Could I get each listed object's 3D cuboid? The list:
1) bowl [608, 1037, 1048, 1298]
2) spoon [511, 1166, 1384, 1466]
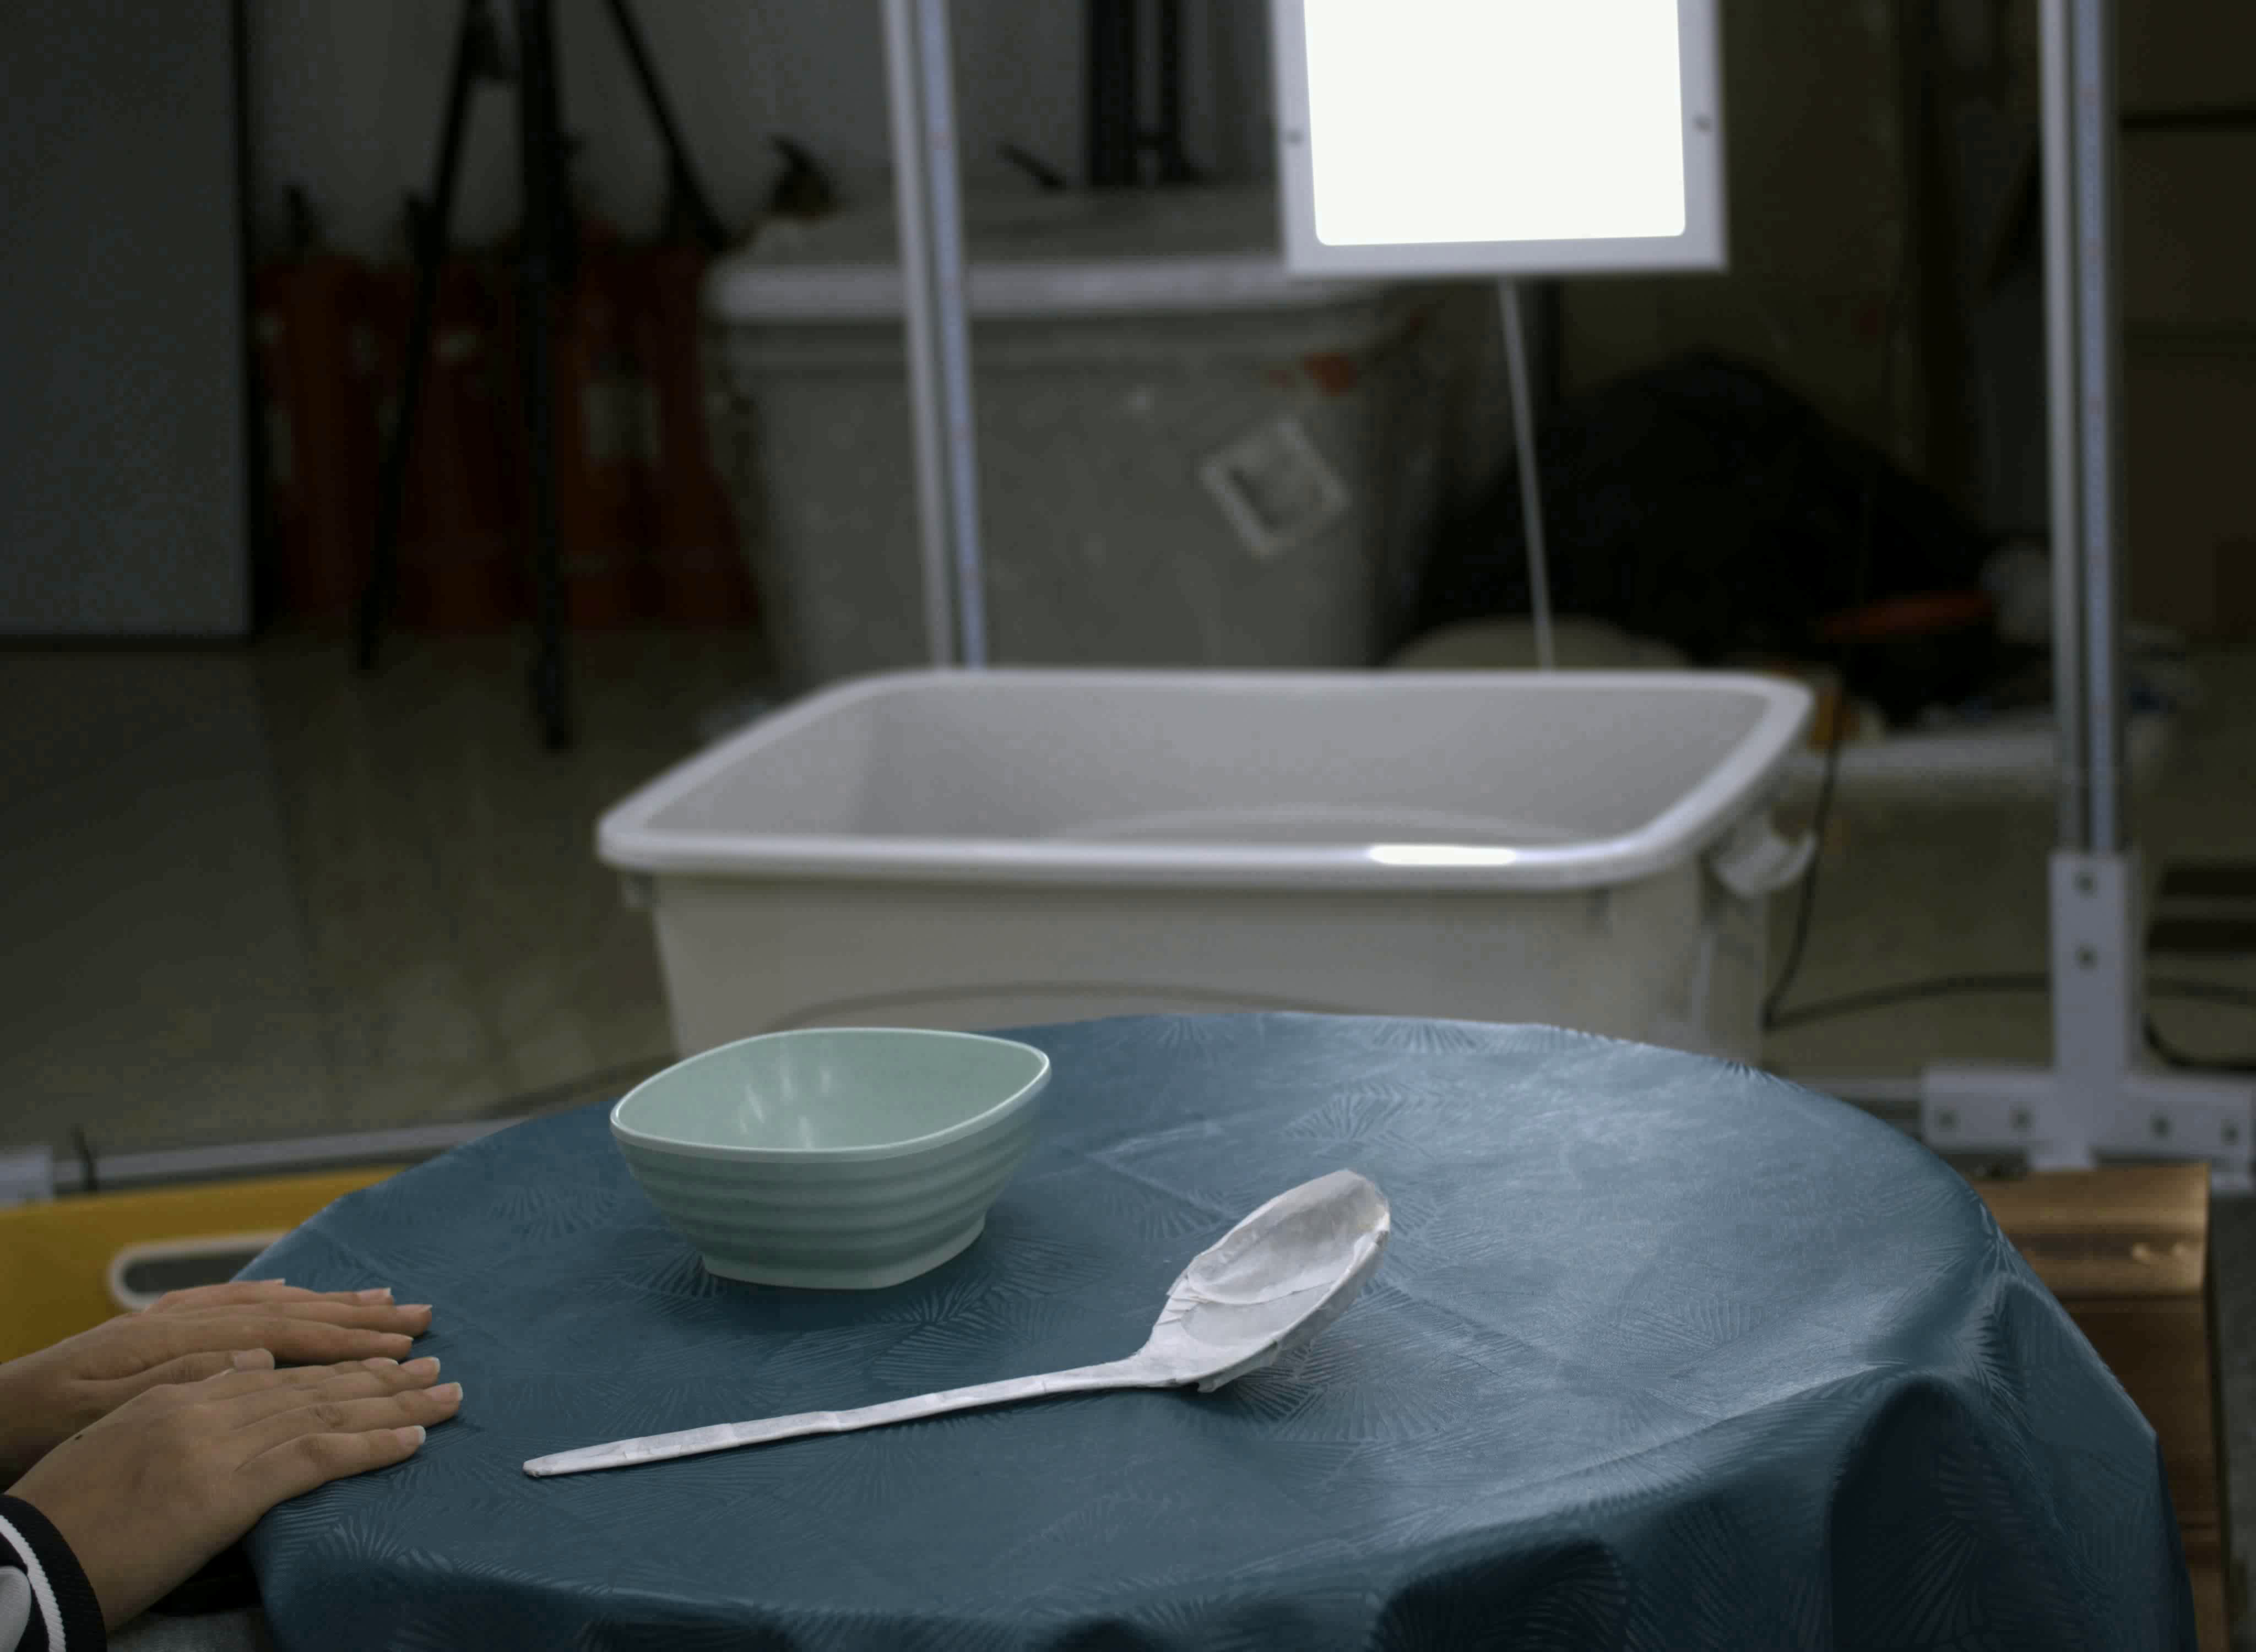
[{"bbox_3d":[-0.098,0.118,1.859,0.151,0.059,0.151,-5,13,0],"label":"bowl"},{"bbox_3d":[-0.055,0.150,1.701,0.275,0.059,0.101,-6,9,-6],"label":"spoon"}]
